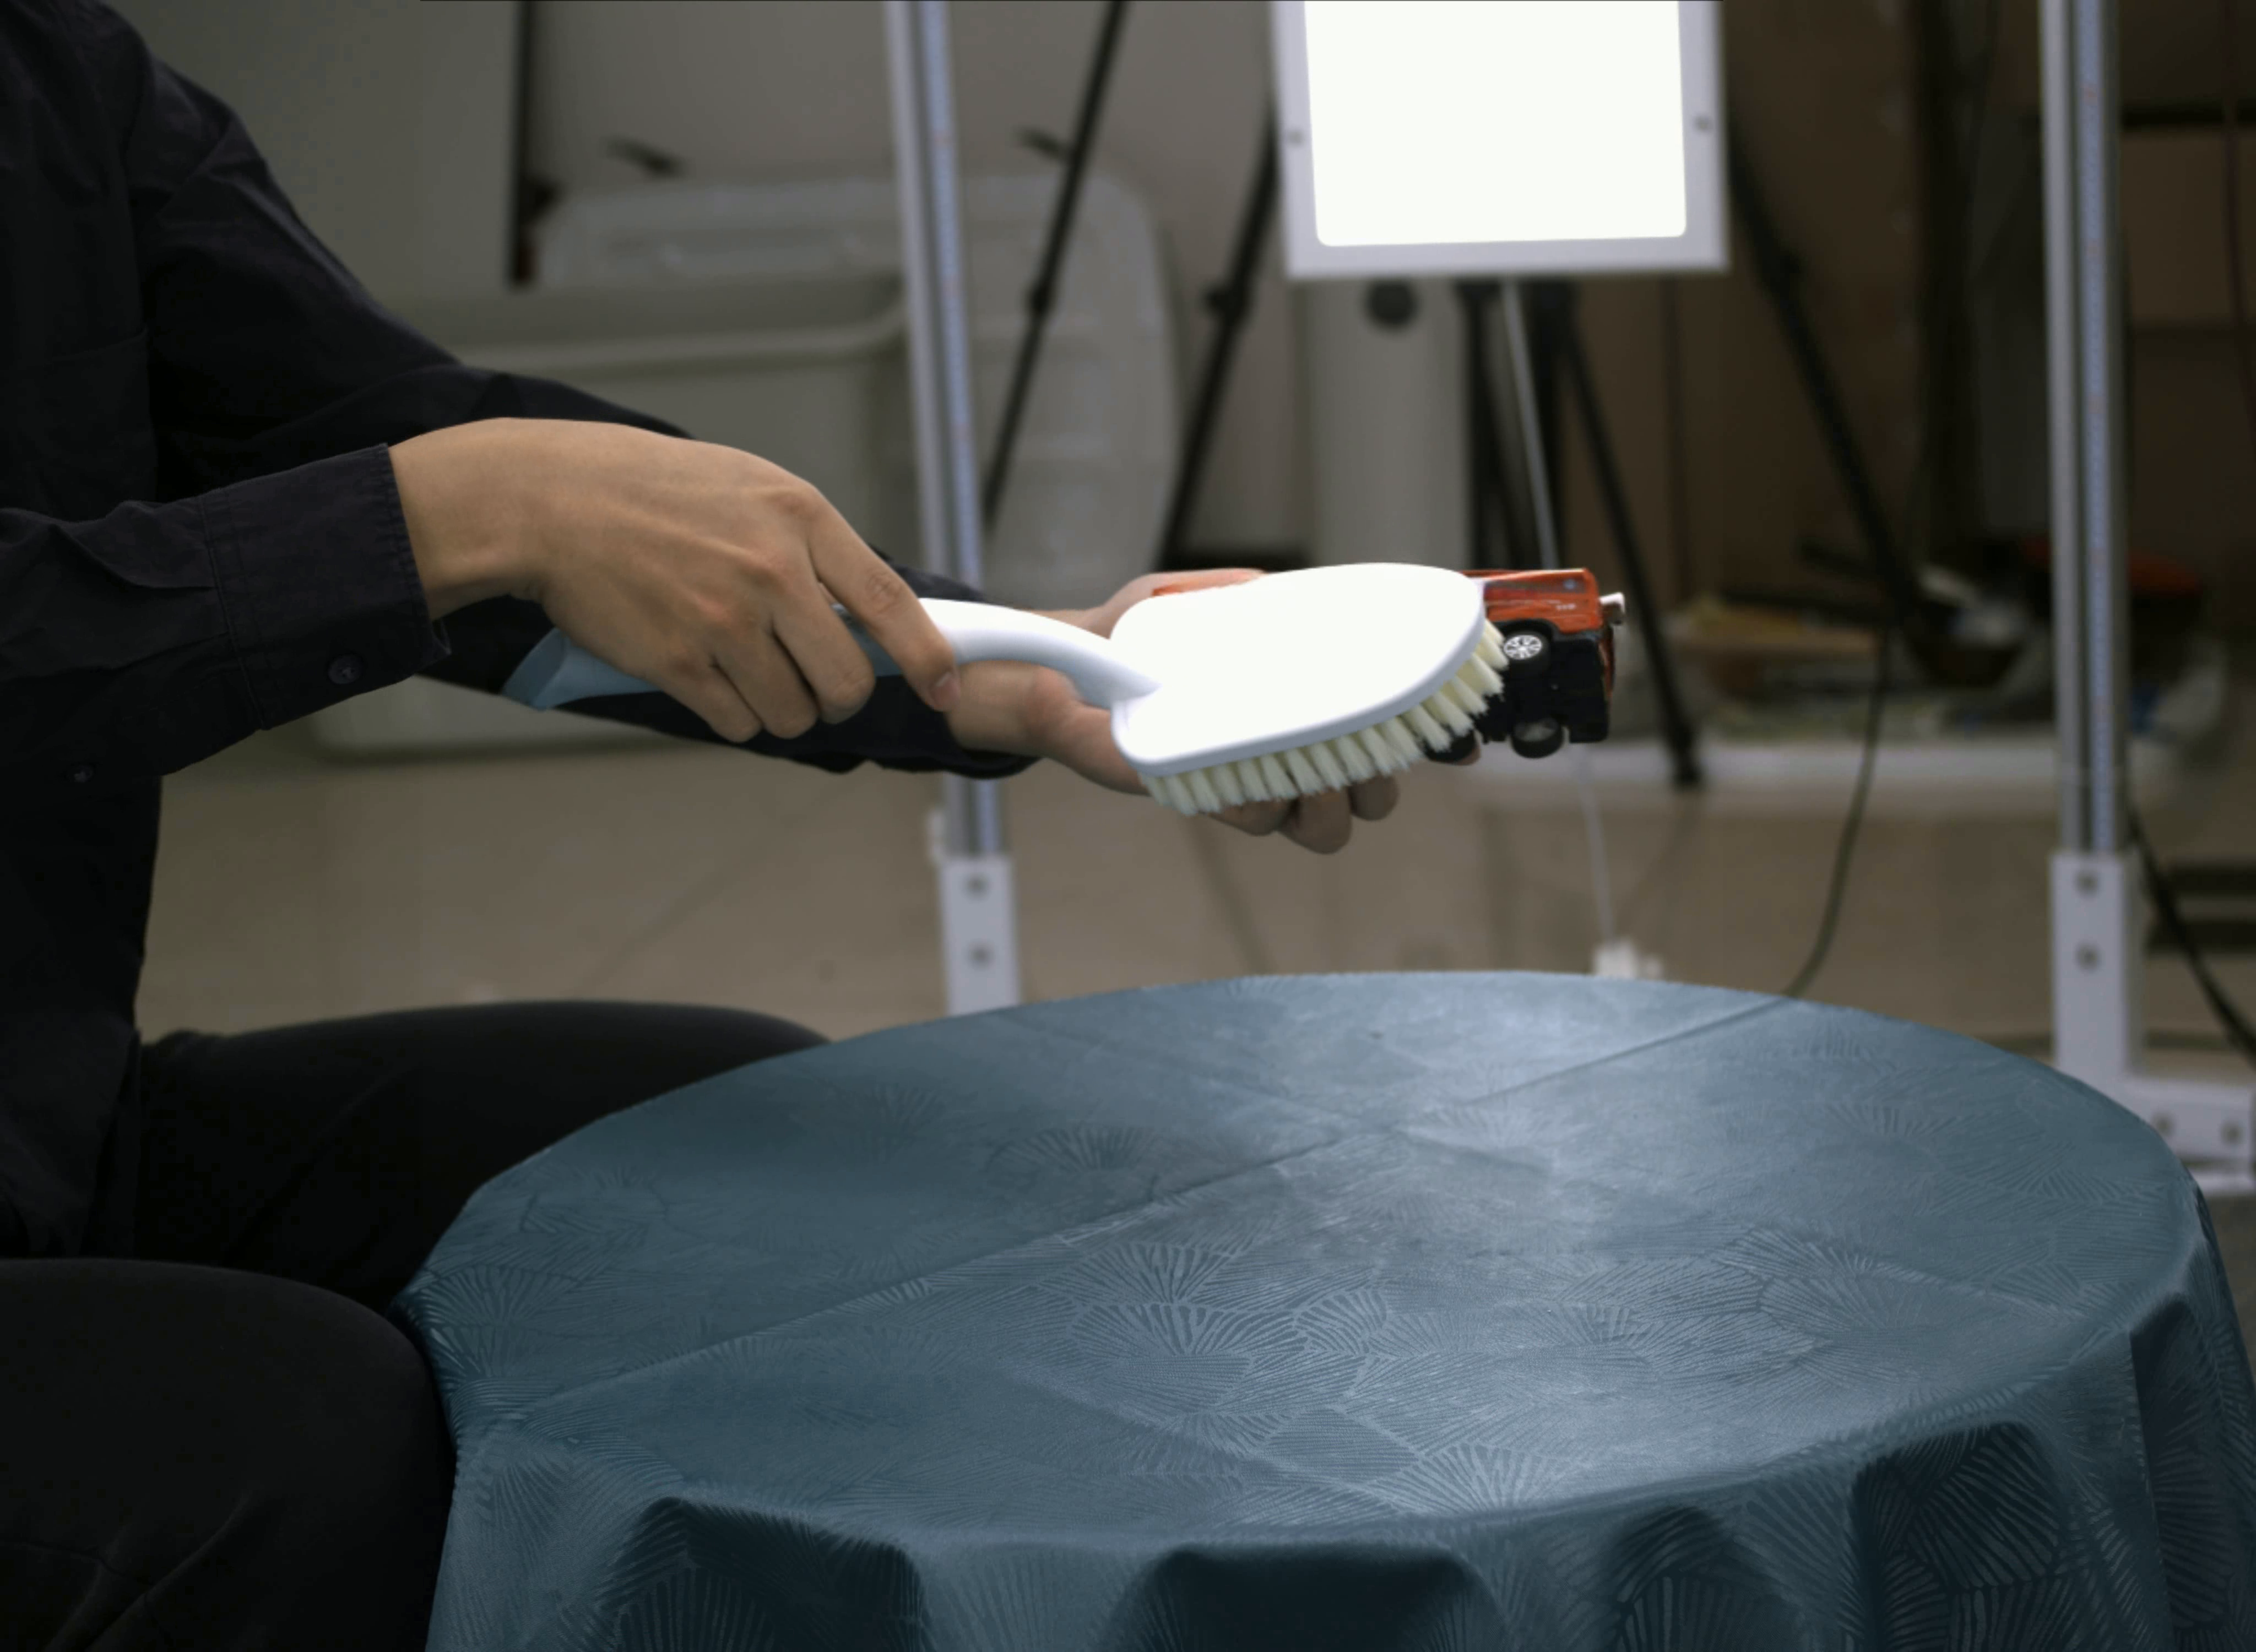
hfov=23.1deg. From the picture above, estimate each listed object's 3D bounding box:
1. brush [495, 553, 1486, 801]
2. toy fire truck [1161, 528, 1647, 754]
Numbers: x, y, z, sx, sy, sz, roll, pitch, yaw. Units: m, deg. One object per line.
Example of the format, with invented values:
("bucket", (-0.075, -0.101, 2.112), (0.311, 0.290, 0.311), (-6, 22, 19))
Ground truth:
("brush", (-0.044, -0.048, 1.815), (0.326, 0.085, 0.082), (-4, 21, 6))
("toy fire truck", (0.090, -0.062, 1.848), (0.169, 0.054, 0.069), (-3, 37, 14))
